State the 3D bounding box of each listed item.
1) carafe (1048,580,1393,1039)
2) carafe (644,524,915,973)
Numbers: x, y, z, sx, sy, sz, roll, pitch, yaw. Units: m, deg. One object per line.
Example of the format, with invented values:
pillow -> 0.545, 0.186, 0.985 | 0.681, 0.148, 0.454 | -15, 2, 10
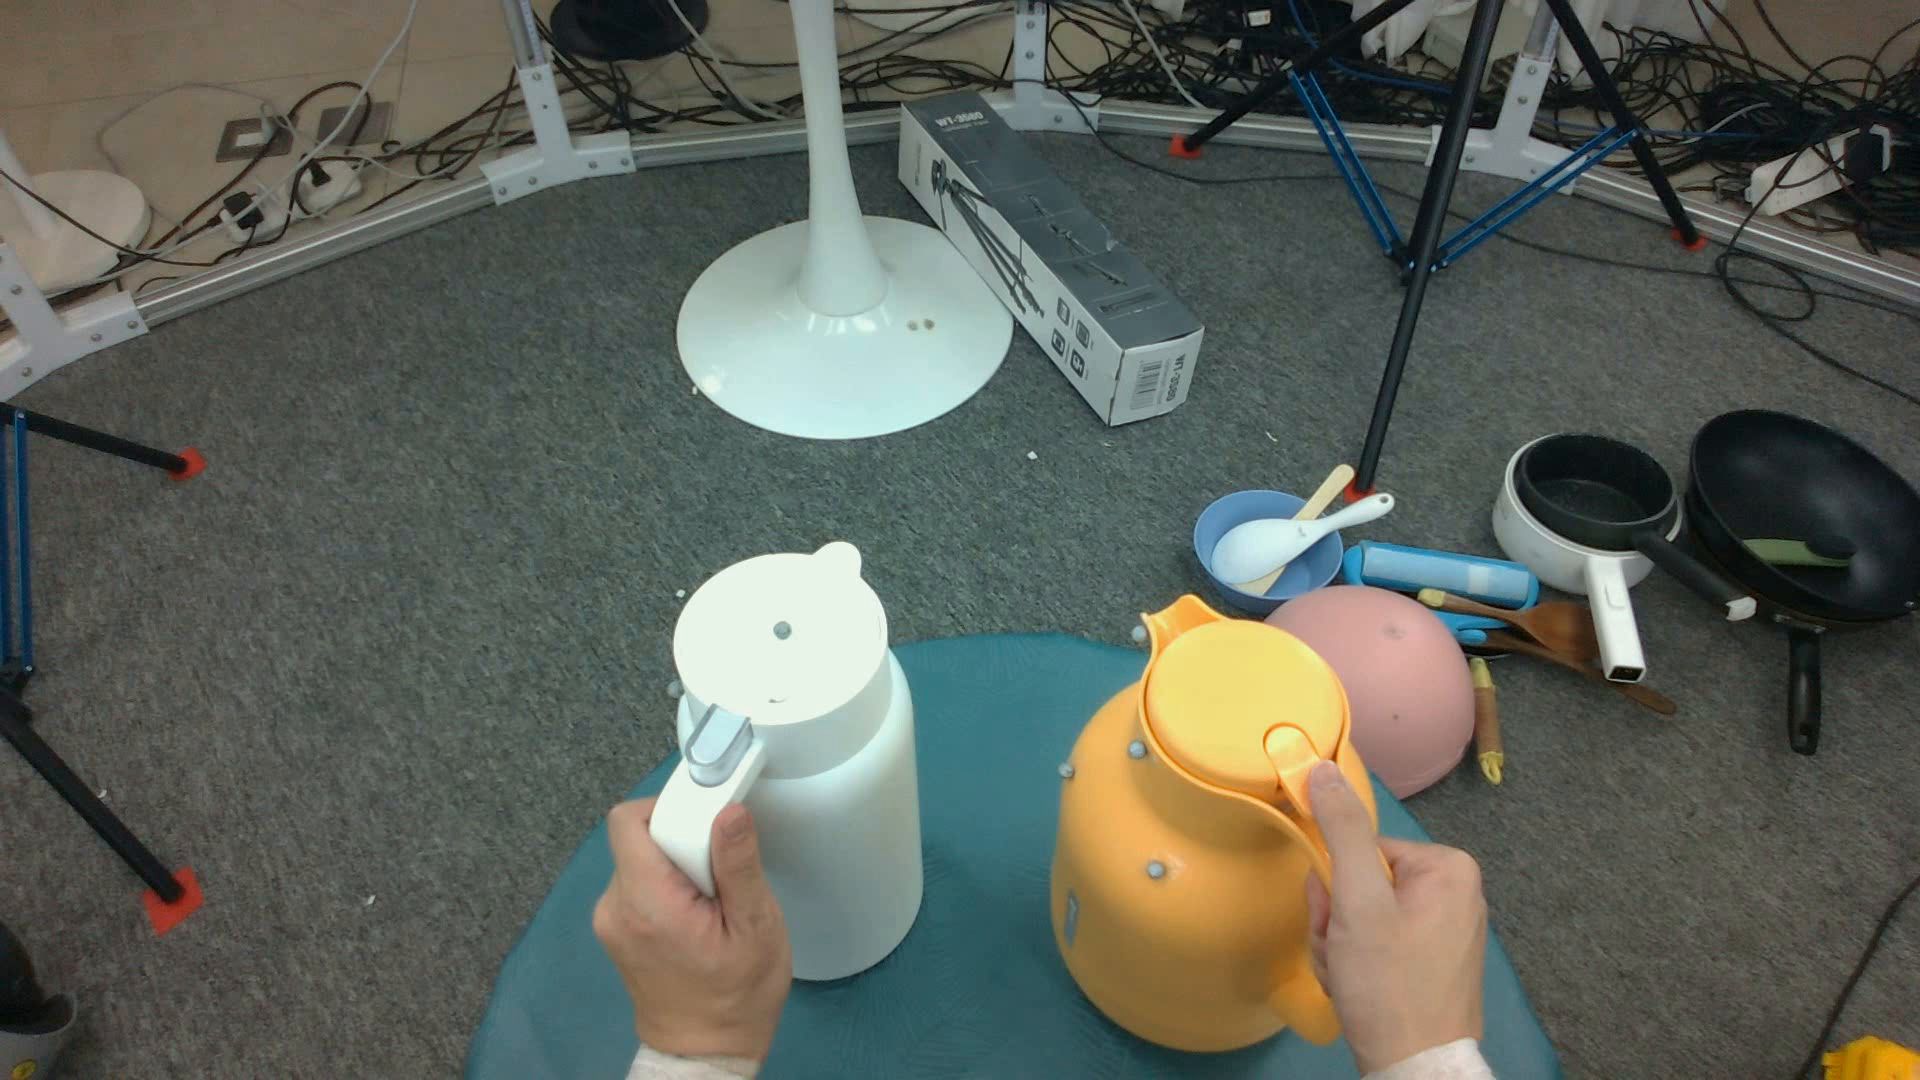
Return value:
carafe -> 0.136, 0.157, 0.709 | 0.164, 0.259, 0.203 | -20, 52, -13
carafe -> -0.091, 0.136, 0.721 | 0.124, 0.267, 0.173 | 19, 52, 13
